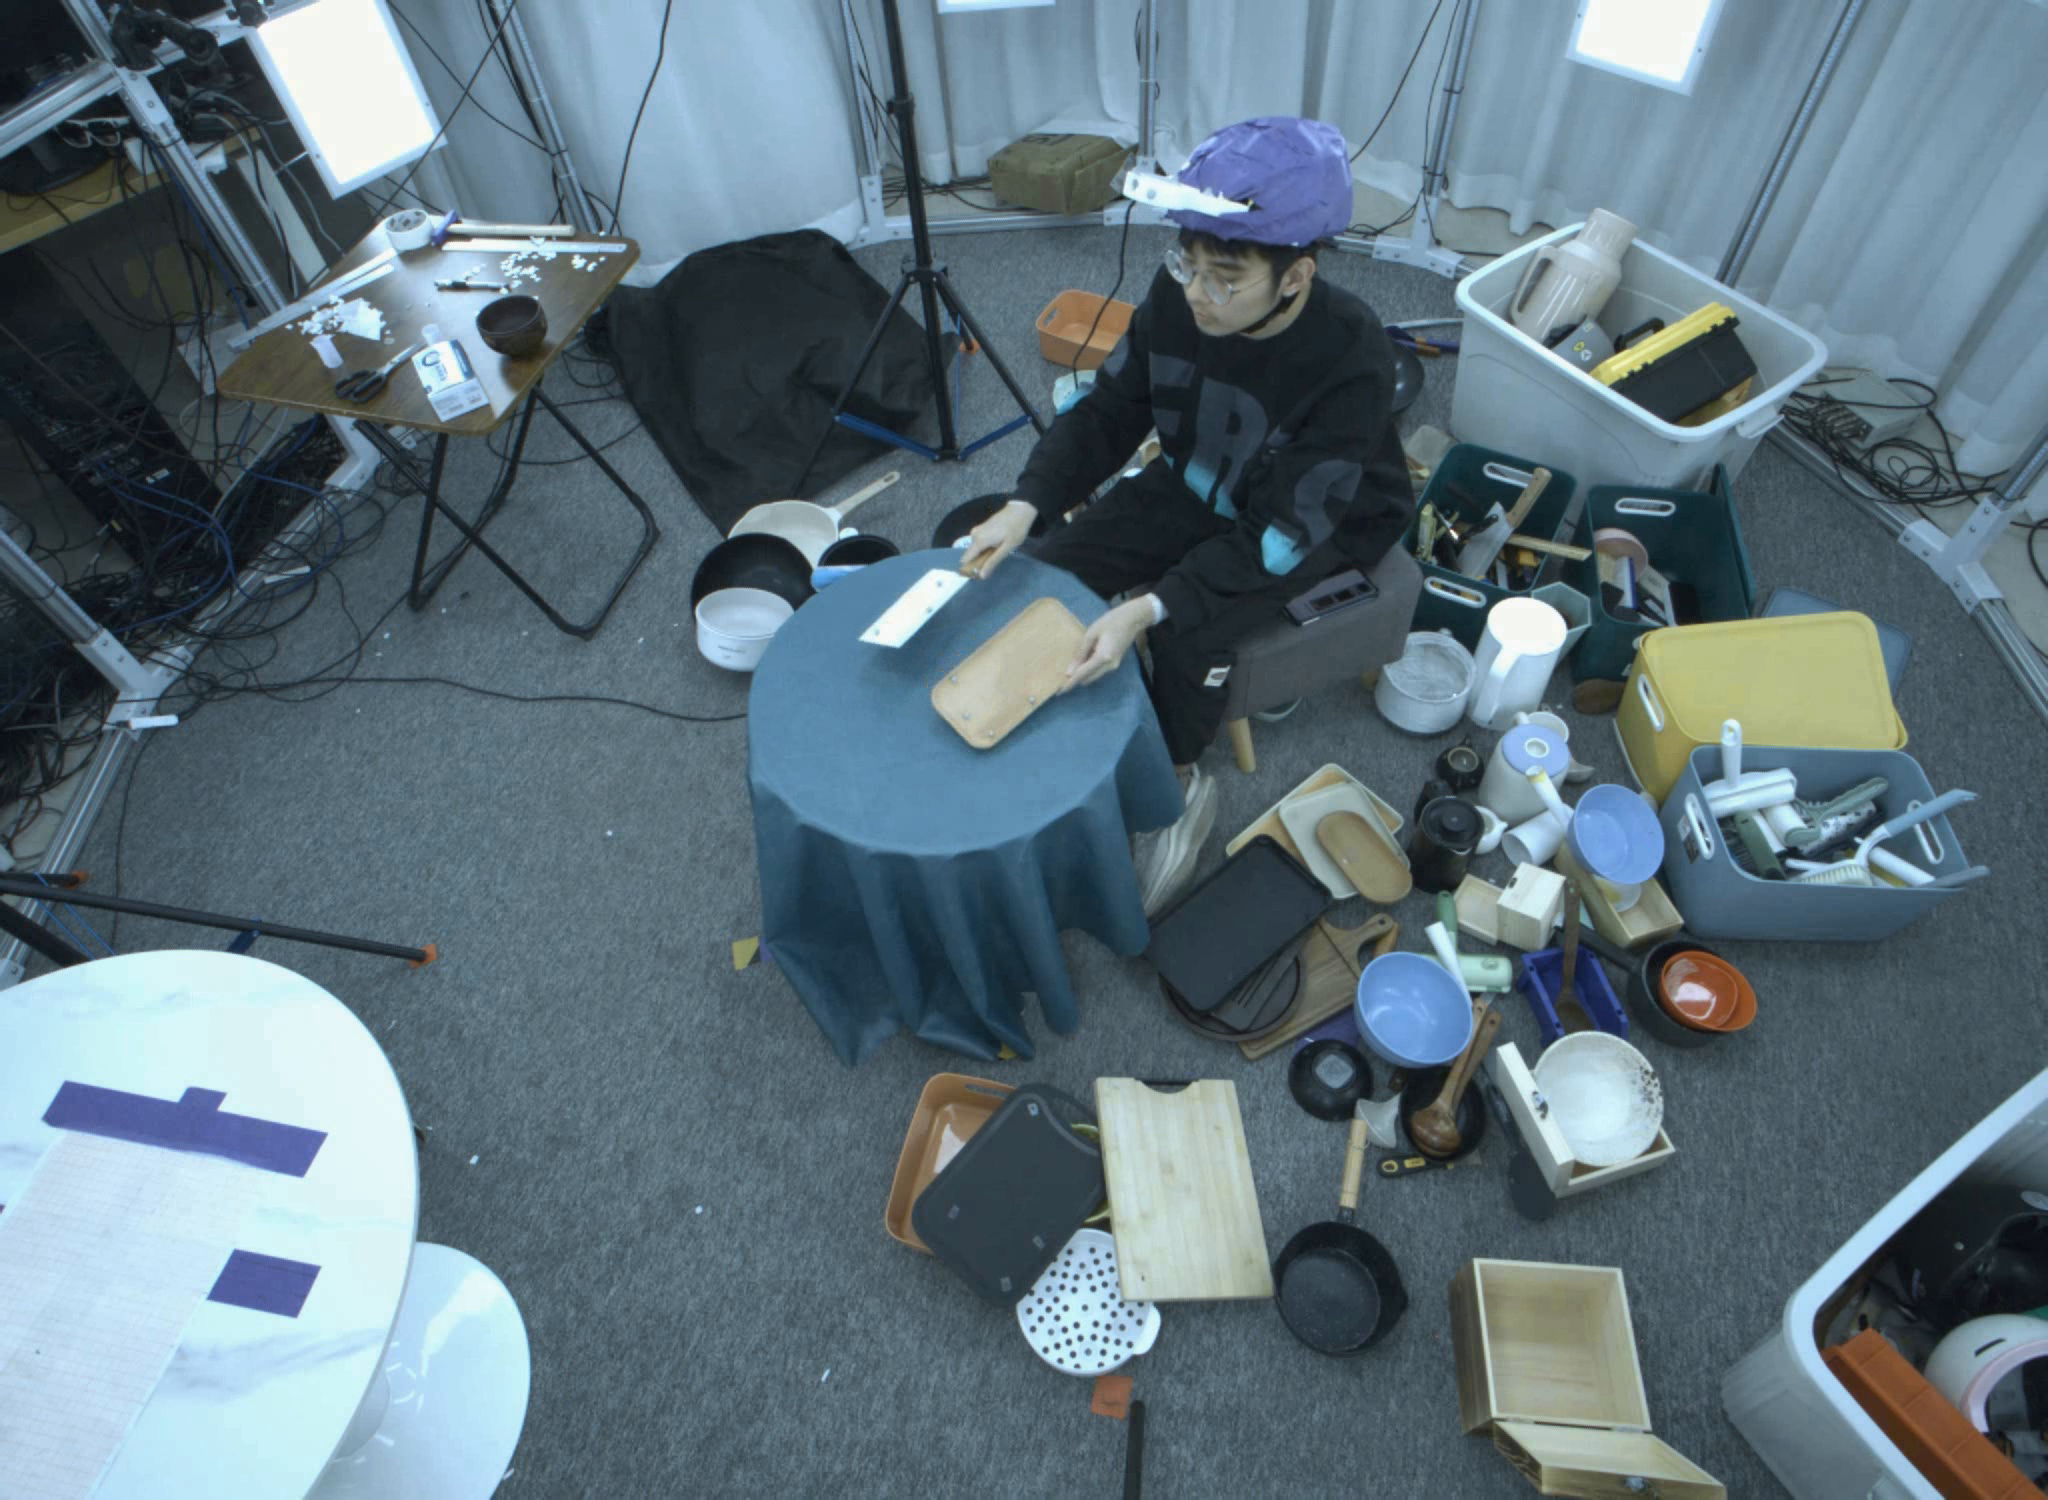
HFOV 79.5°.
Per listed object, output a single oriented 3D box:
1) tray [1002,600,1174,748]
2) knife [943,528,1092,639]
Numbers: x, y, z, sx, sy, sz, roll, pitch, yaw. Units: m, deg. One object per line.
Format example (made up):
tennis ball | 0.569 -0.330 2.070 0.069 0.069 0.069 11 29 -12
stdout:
tray | 0.094 -0.112 1.805 0.252 0.023 0.130 -35 82 -11
knife | -0.013 -0.263 1.902 0.091 0.021 0.308 17 49 38
